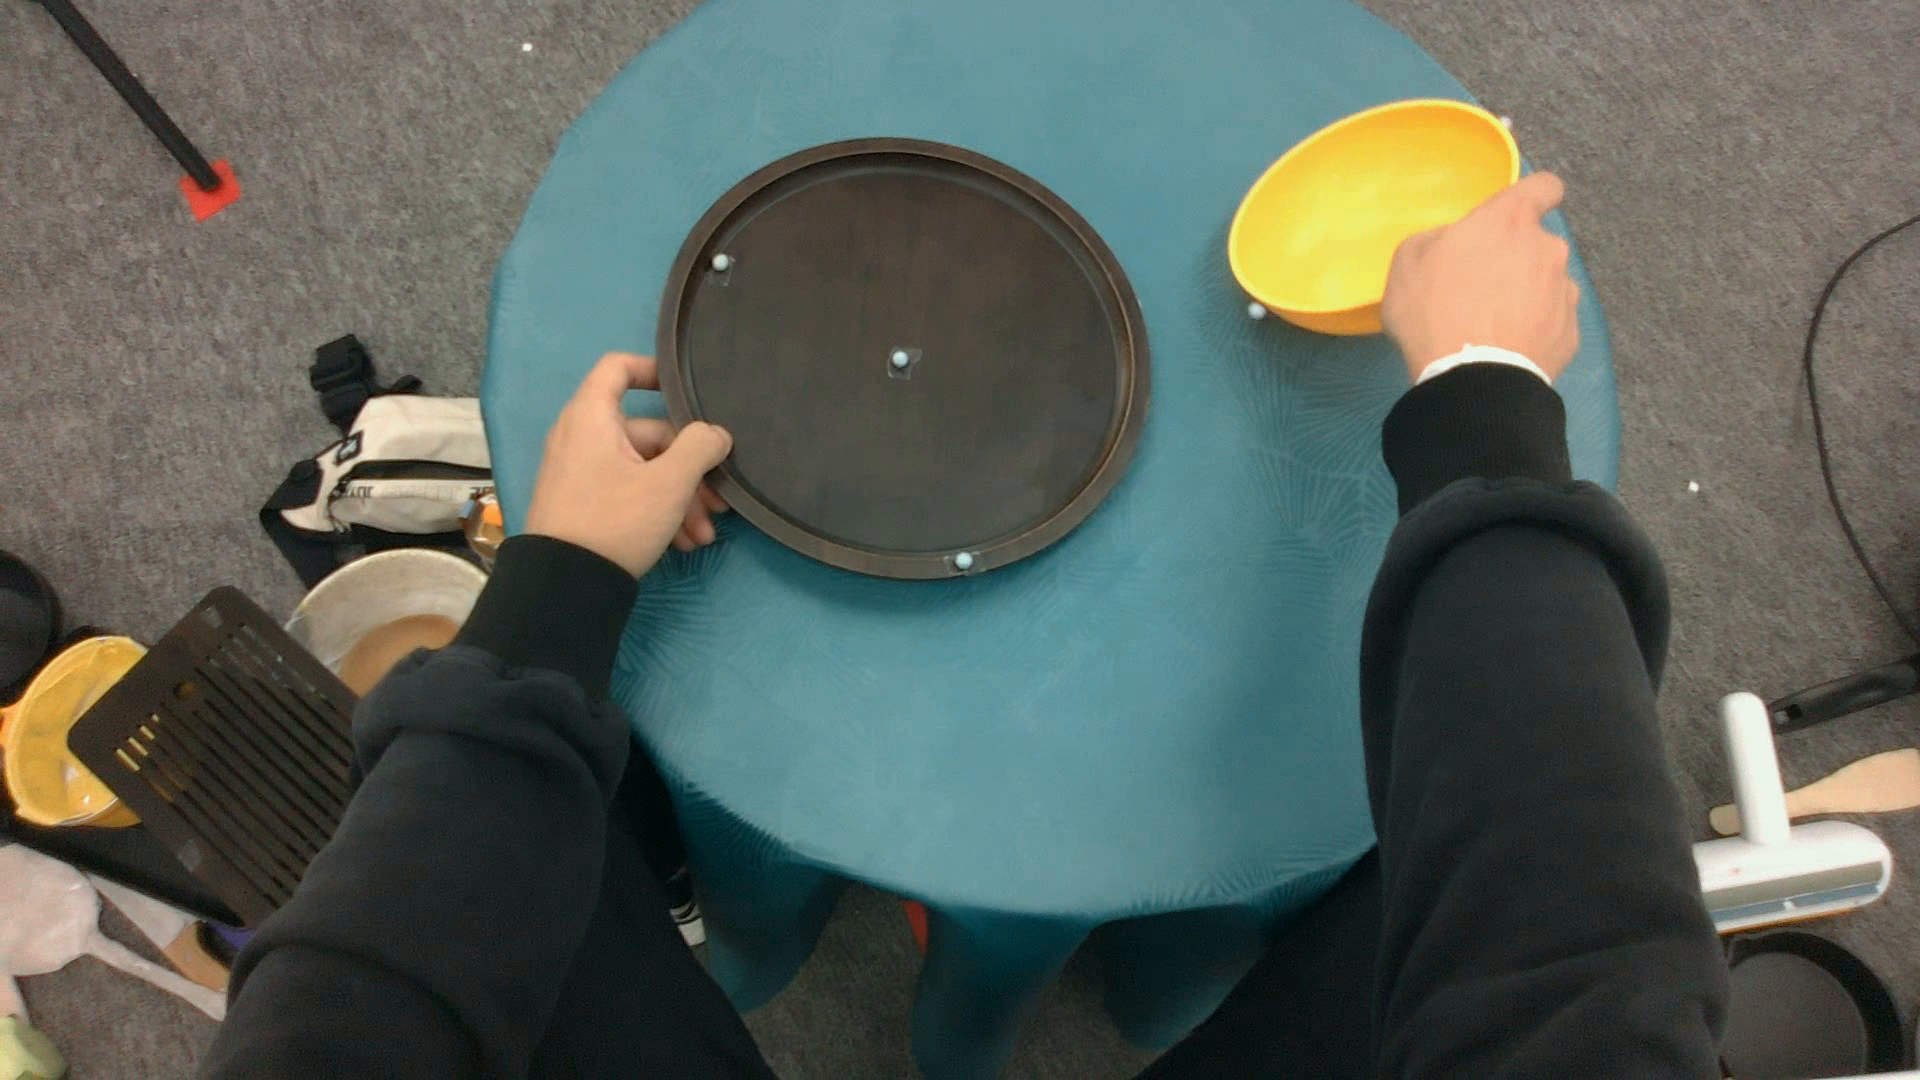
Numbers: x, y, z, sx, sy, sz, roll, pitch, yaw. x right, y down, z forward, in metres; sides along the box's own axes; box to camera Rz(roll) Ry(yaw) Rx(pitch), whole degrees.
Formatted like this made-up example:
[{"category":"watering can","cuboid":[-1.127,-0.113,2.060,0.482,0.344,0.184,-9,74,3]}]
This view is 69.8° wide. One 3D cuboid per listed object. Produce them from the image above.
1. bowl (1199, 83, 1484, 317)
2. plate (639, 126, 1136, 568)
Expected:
[{"category":"bowl","cuboid":[0.203,-0.165,0.719,0.145,0.060,0.146,-16,50,21]},{"category":"plate","cuboid":[-0.034,-0.103,0.704,0.255,0.029,0.255,4,70,-10]}]
